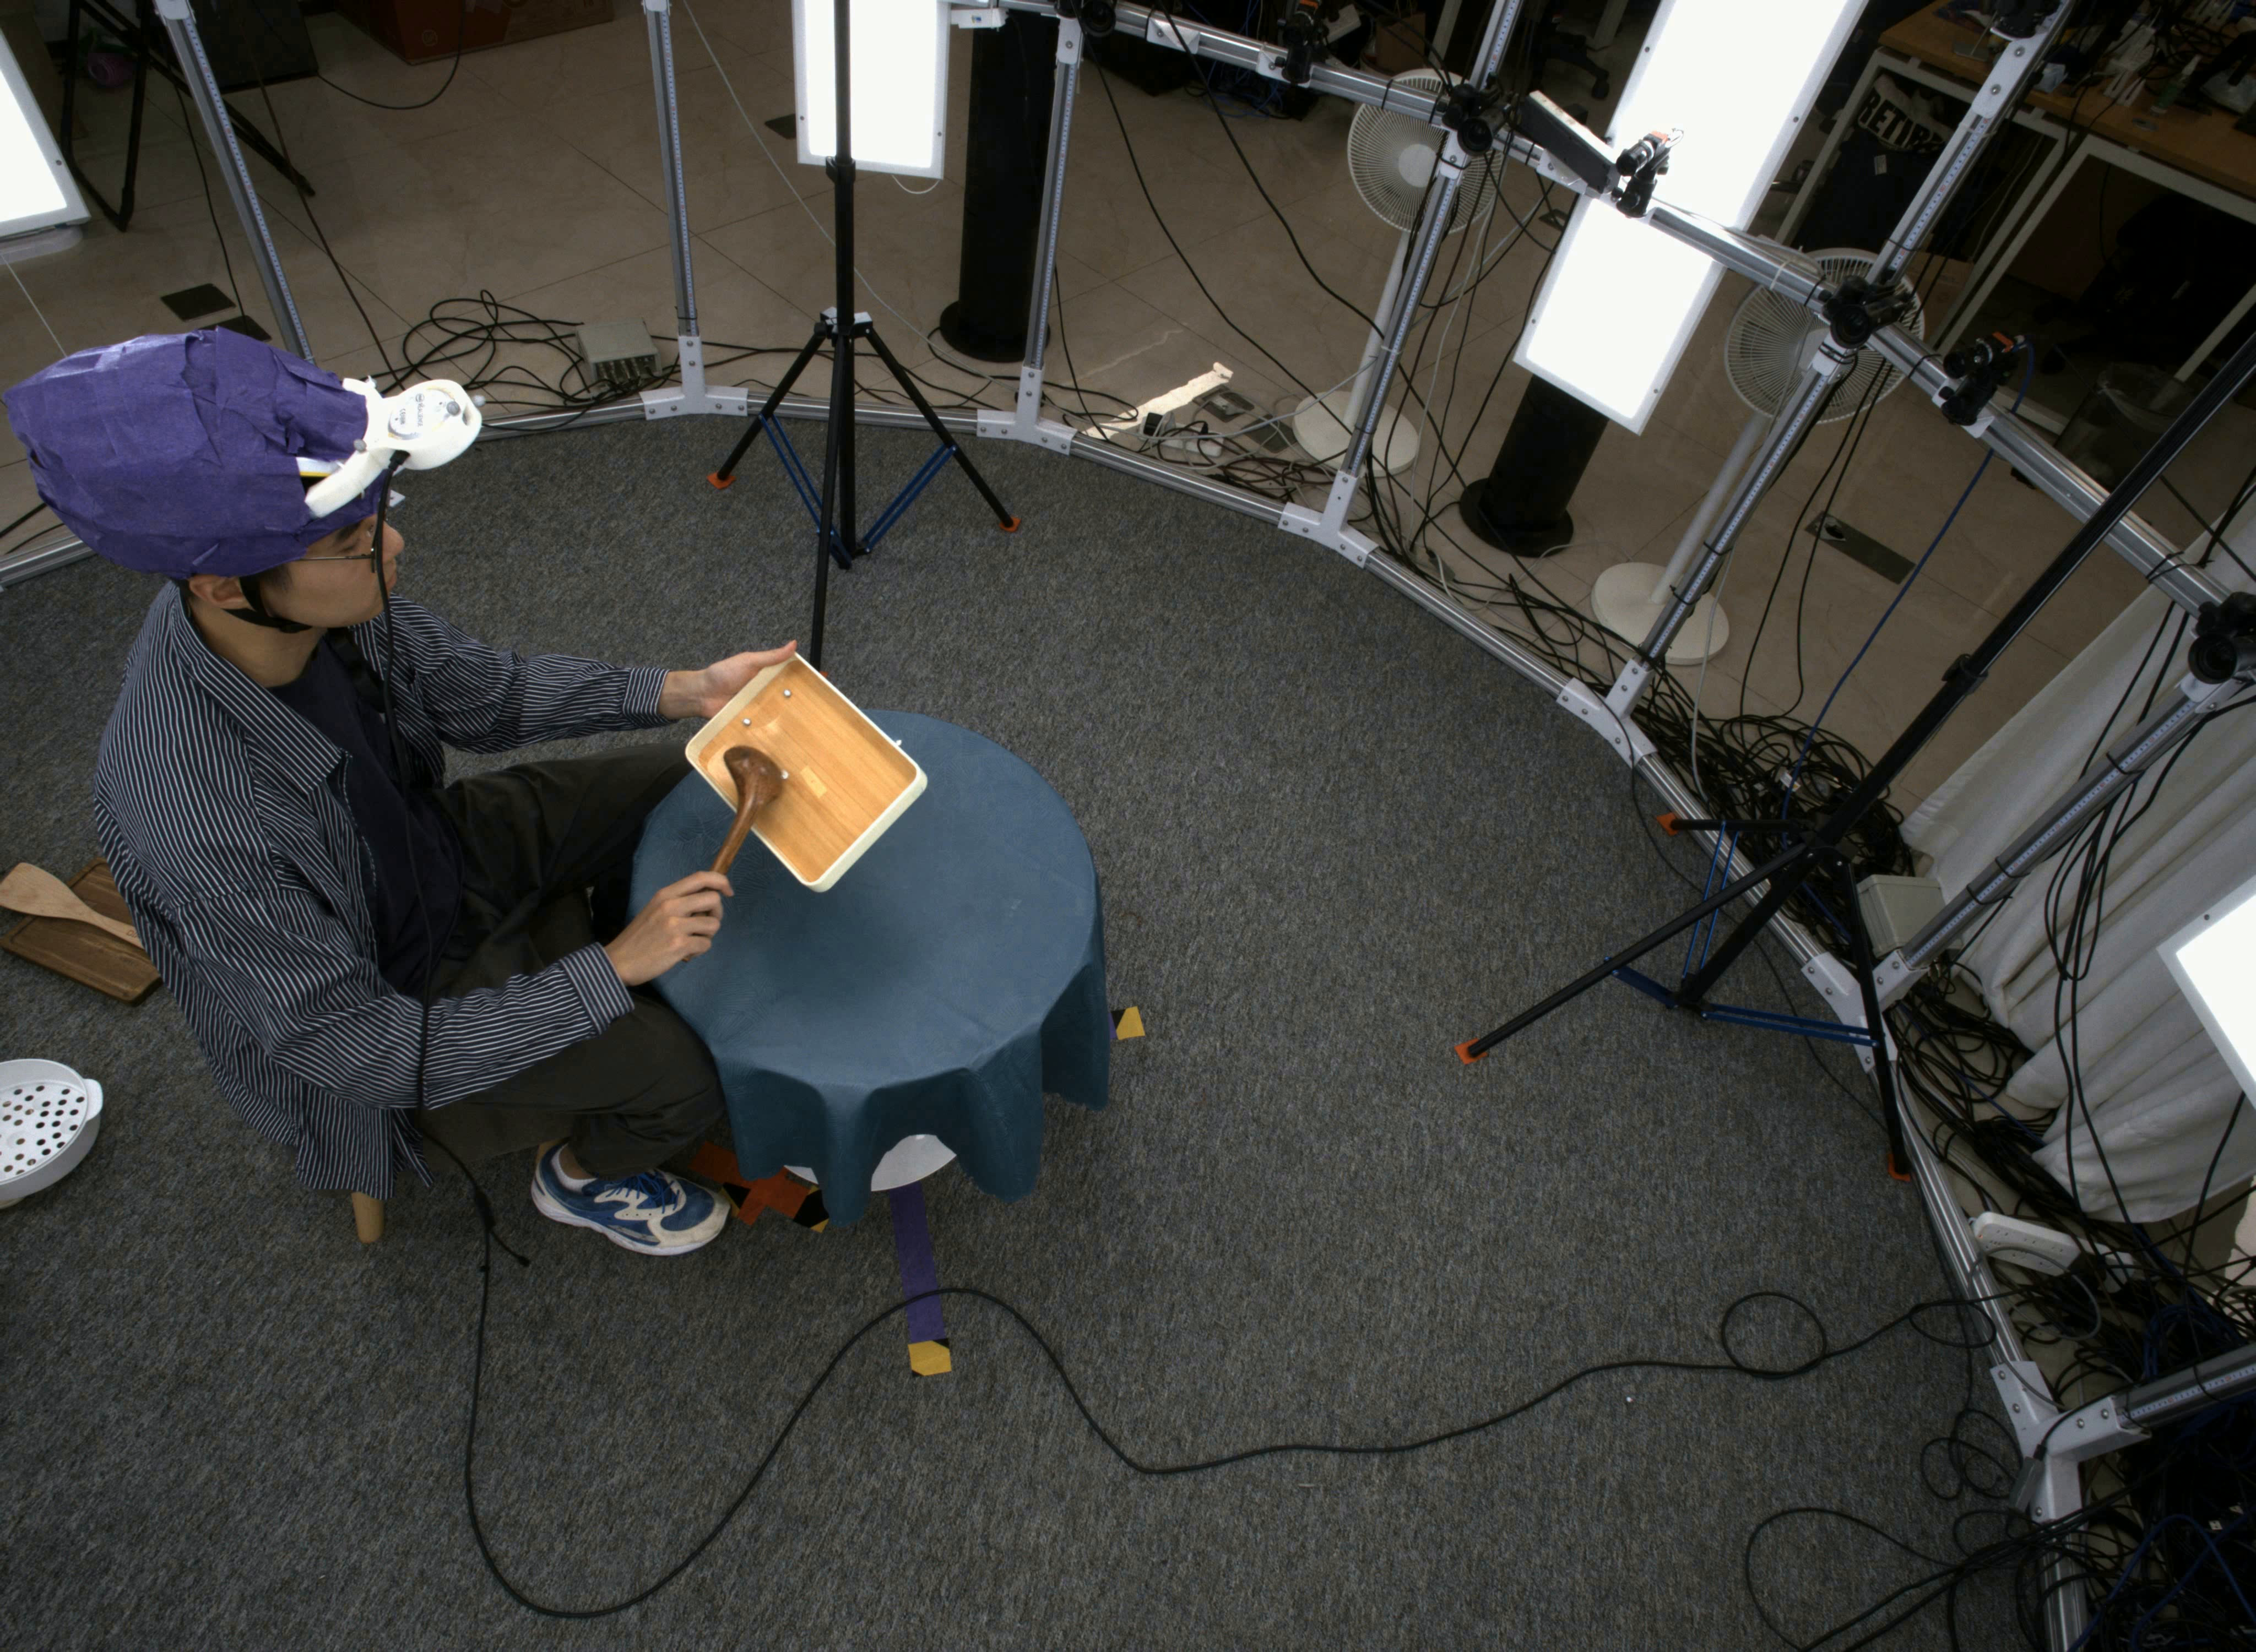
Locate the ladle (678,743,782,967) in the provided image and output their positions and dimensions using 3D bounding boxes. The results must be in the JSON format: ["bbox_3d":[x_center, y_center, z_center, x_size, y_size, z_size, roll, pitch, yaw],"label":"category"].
[{"bbox_3d":[-0.477,0.029,1.500,0.084,0.074,0.273,31,68,-36],"label":"ladle"}]

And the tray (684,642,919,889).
[{"bbox_3d":[-0.400,-0.079,1.567,0.191,0.028,0.291,-47,63,-4],"label":"tray"}]
